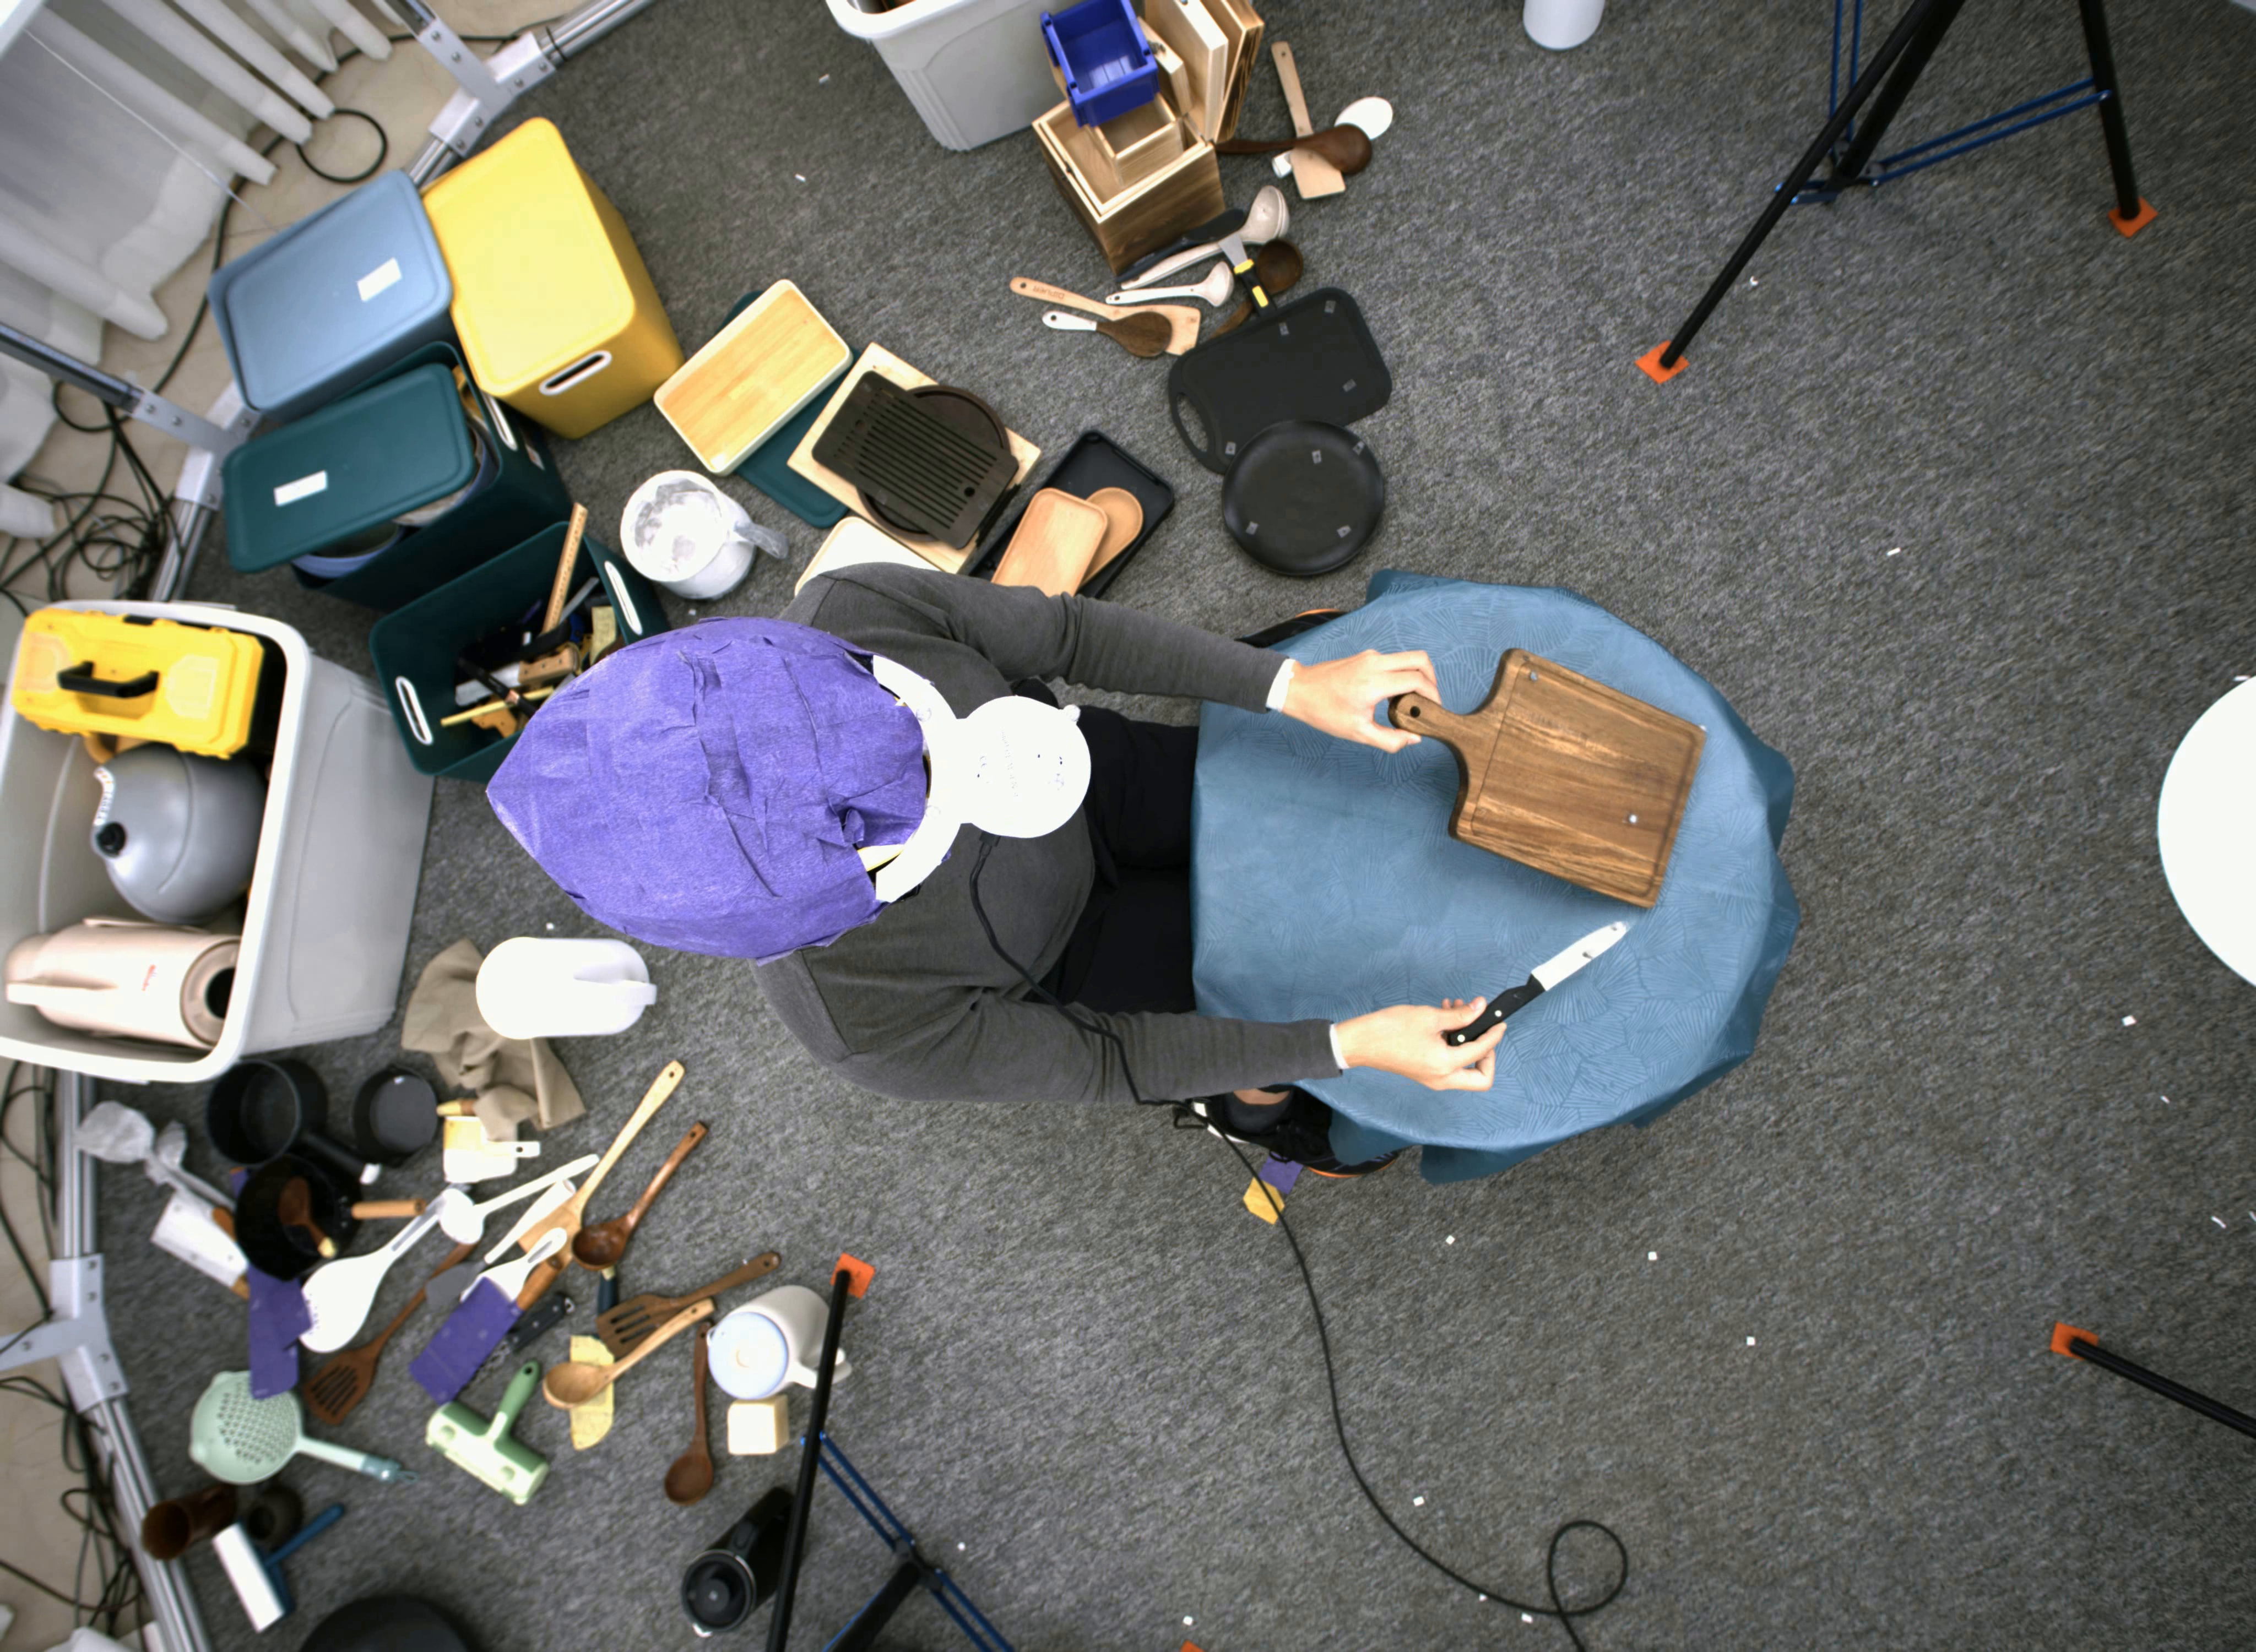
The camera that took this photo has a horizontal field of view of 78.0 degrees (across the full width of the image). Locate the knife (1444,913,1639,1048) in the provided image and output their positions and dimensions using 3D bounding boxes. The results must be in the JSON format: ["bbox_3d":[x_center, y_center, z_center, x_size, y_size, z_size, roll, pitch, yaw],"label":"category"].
[{"bbox_3d":[0.403,0.145,1.322,0.236,0.016,0.024,-31,72,-10],"label":"knife"}]

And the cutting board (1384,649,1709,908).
[{"bbox_3d":[0.408,-0.062,1.349,0.353,0.023,0.201,18,90,-17],"label":"cutting board"}]
